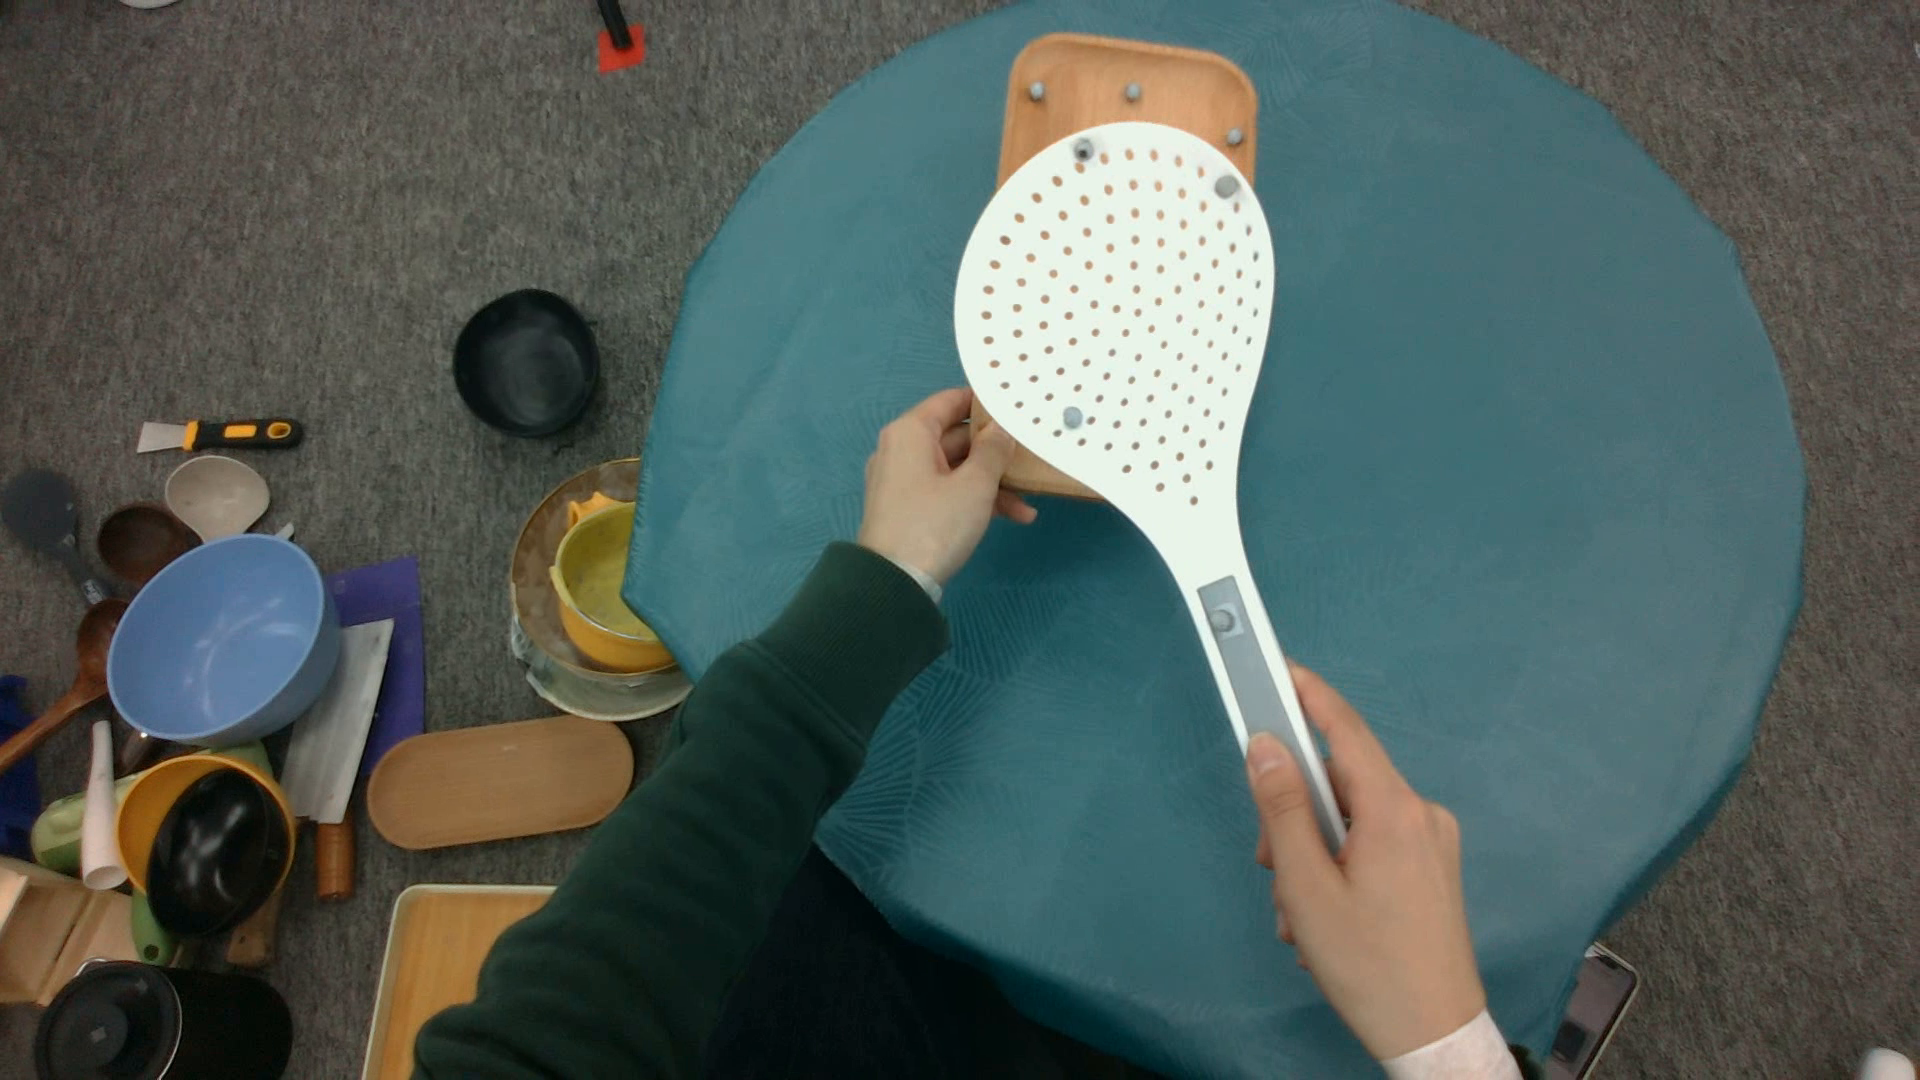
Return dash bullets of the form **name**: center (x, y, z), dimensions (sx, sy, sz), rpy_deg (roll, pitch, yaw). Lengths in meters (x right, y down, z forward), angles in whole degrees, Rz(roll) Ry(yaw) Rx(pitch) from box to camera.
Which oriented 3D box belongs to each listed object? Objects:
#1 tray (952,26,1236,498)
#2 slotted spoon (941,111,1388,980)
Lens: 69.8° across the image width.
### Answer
- **tray**: center (0.069, -0.140, 0.676), dimensions (0.130, 0.023, 0.251), rpy_deg (6, 72, -1)
- **slotted spoon**: center (0.090, -0.005, 0.537), dimensions (0.135, 0.046, 0.350), rpy_deg (-25, 72, 25)
